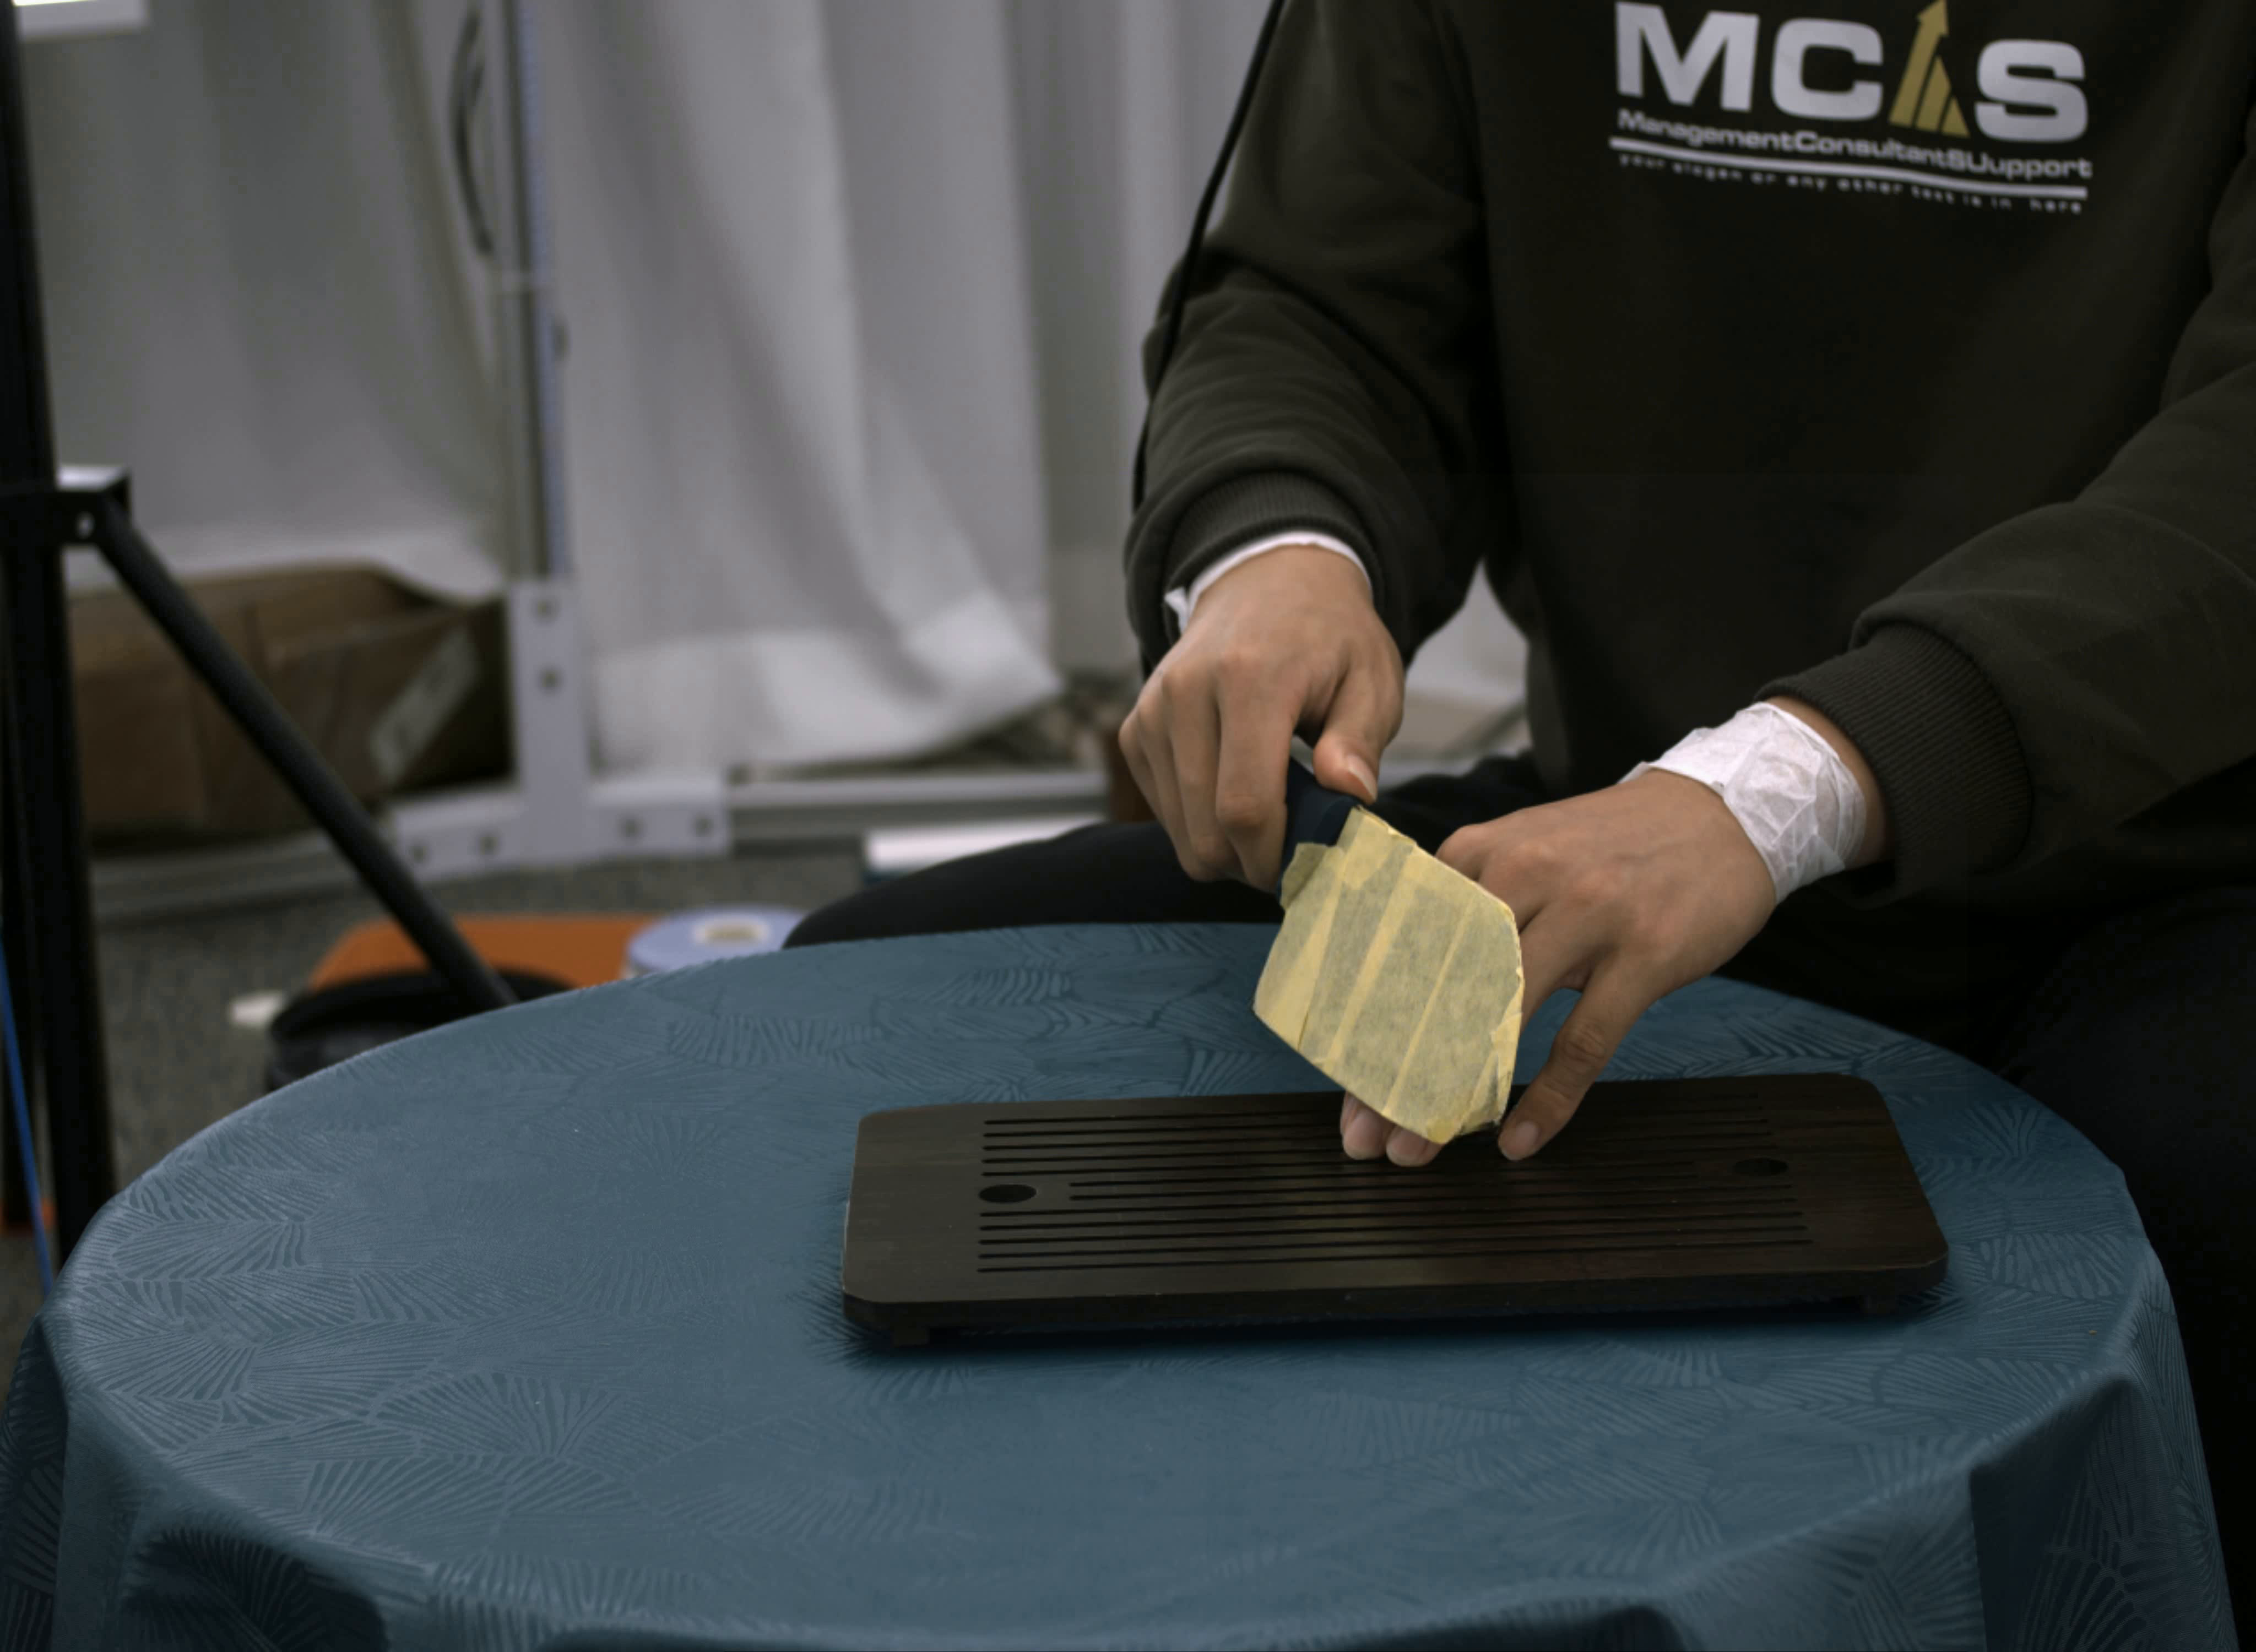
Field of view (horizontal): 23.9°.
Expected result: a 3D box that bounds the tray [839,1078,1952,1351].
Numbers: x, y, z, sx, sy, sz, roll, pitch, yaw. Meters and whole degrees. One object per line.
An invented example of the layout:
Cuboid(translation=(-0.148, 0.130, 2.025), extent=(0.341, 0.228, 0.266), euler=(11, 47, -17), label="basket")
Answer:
Cuboid(translation=(0.073, 0.110, 1.509), extent=(0.305, 0.018, 0.170), euler=(-2, 15, 2), label="tray")

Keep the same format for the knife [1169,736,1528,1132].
Cuboid(translation=(0.061, 0.028, 1.587), extent=(0.026, 0.081, 0.294), euler=(23, 8, -22), label="knife")
